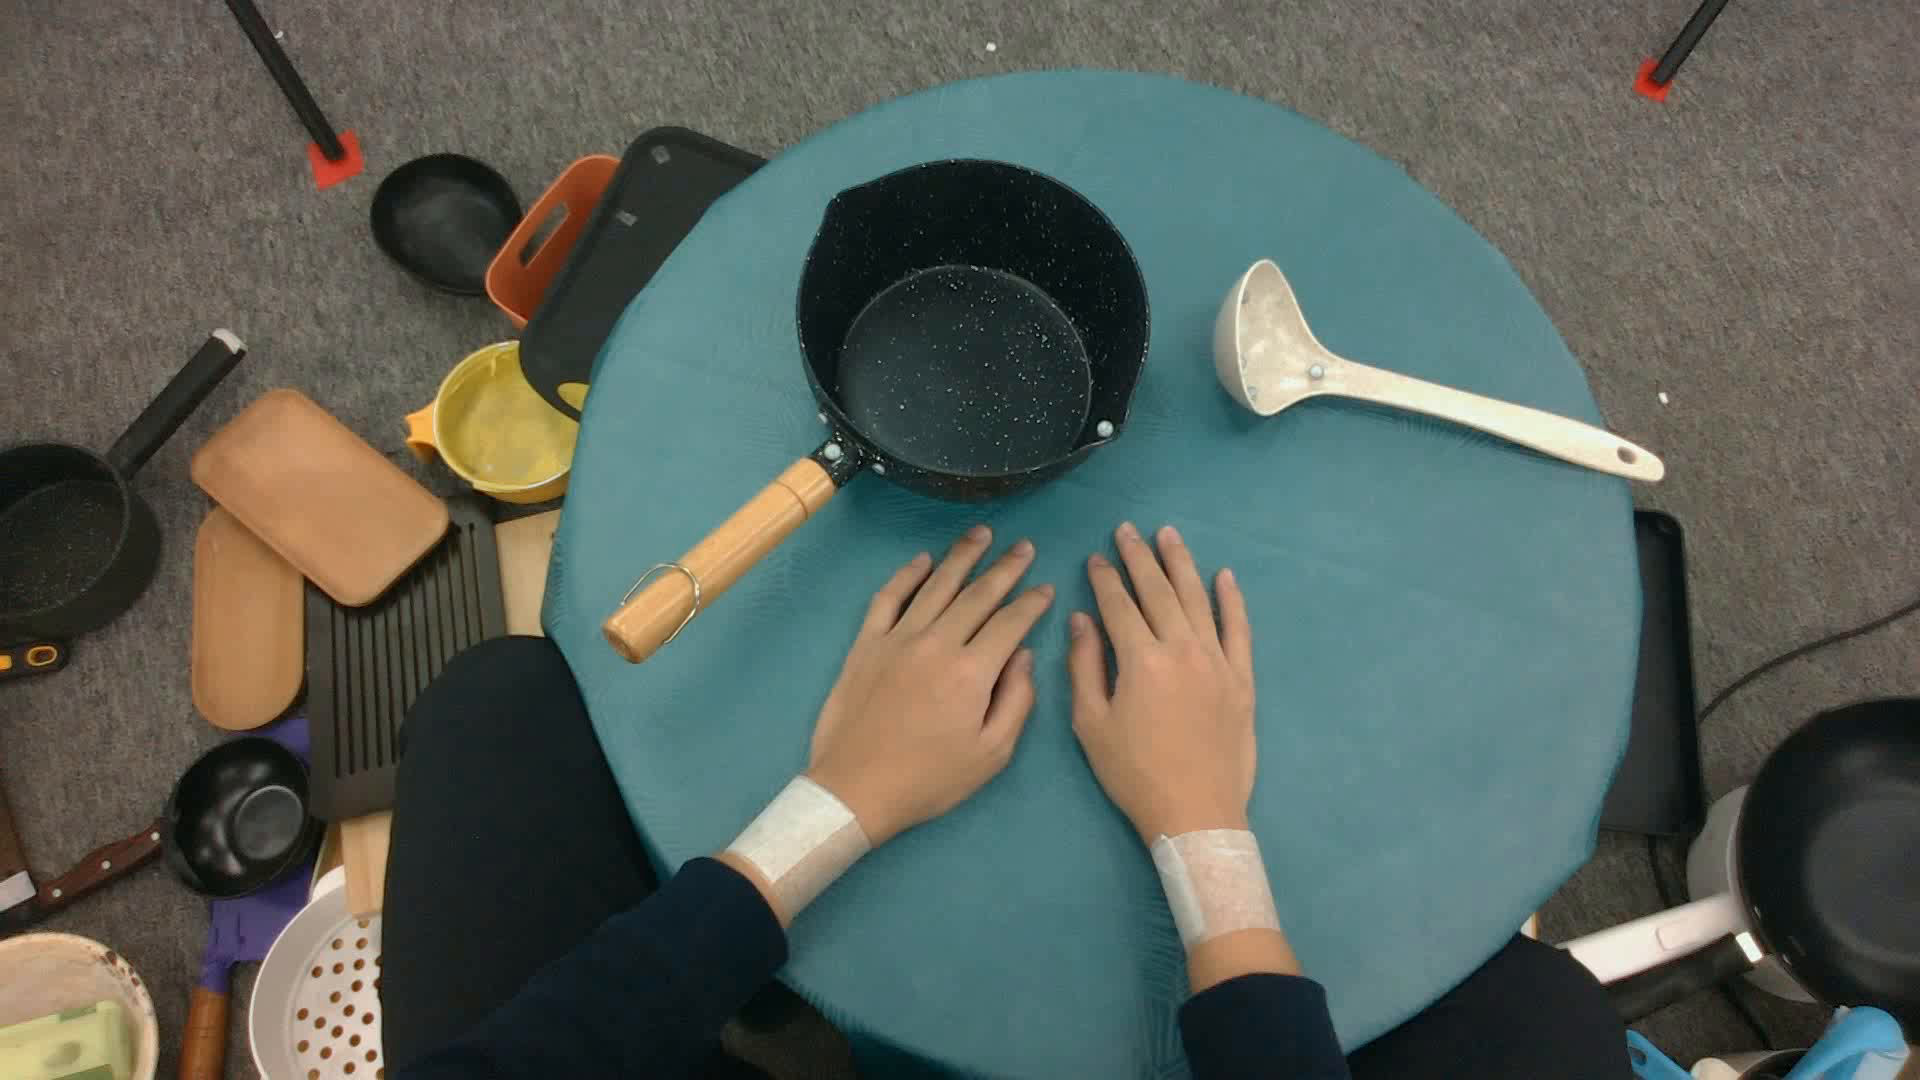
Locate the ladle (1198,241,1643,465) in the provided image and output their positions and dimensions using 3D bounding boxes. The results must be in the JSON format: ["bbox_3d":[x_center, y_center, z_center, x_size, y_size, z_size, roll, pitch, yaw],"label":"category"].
[{"bbox_3d":[0.267,-0.096,0.770,0.275,0.069,0.089,14,65,0],"label":"ladle"}]

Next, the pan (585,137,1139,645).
[{"bbox_3d":[-0.053,-0.061,0.712,0.207,0.108,0.344,40,72,8],"label":"pan"}]
